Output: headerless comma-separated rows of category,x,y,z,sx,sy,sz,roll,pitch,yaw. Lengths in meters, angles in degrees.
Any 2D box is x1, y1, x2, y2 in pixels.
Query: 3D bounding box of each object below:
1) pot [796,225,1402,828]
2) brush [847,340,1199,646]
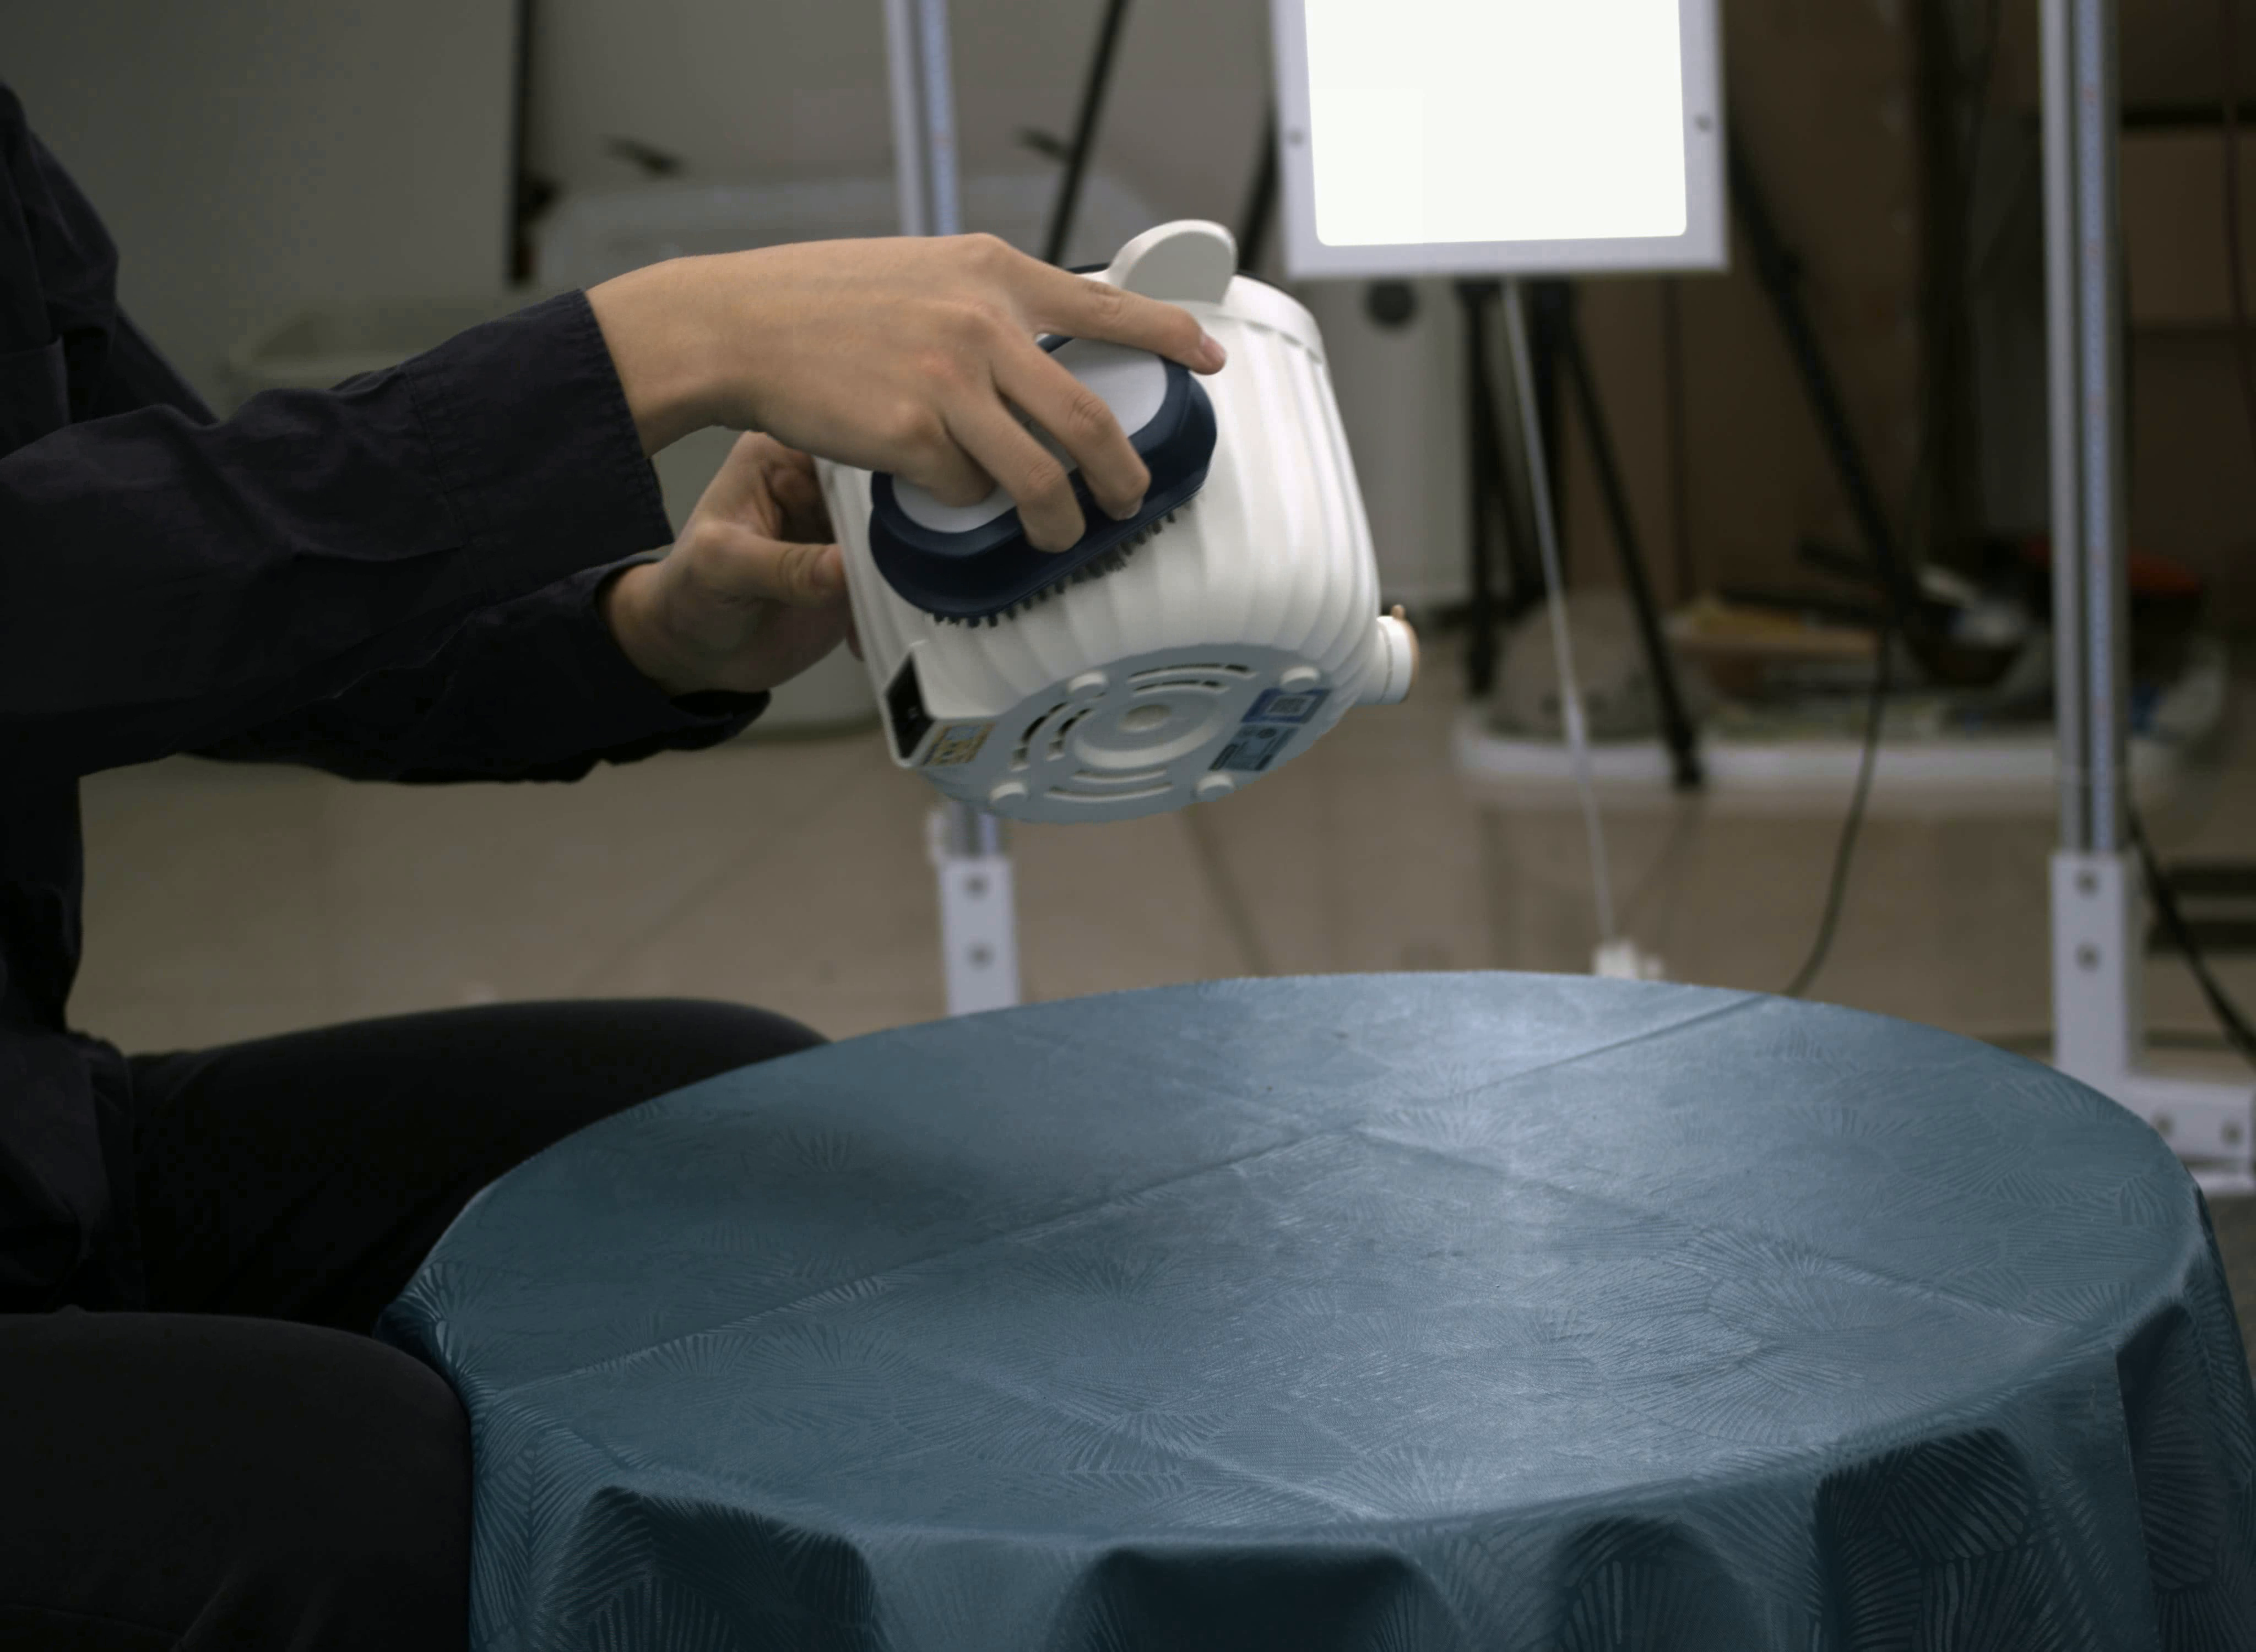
pot,-0.006,-0.087,1.894,0.186,0.143,0.244,-5,-24,-25
brush,-0.033,-0.104,1.762,0.121,0.068,0.061,-27,-25,-6
